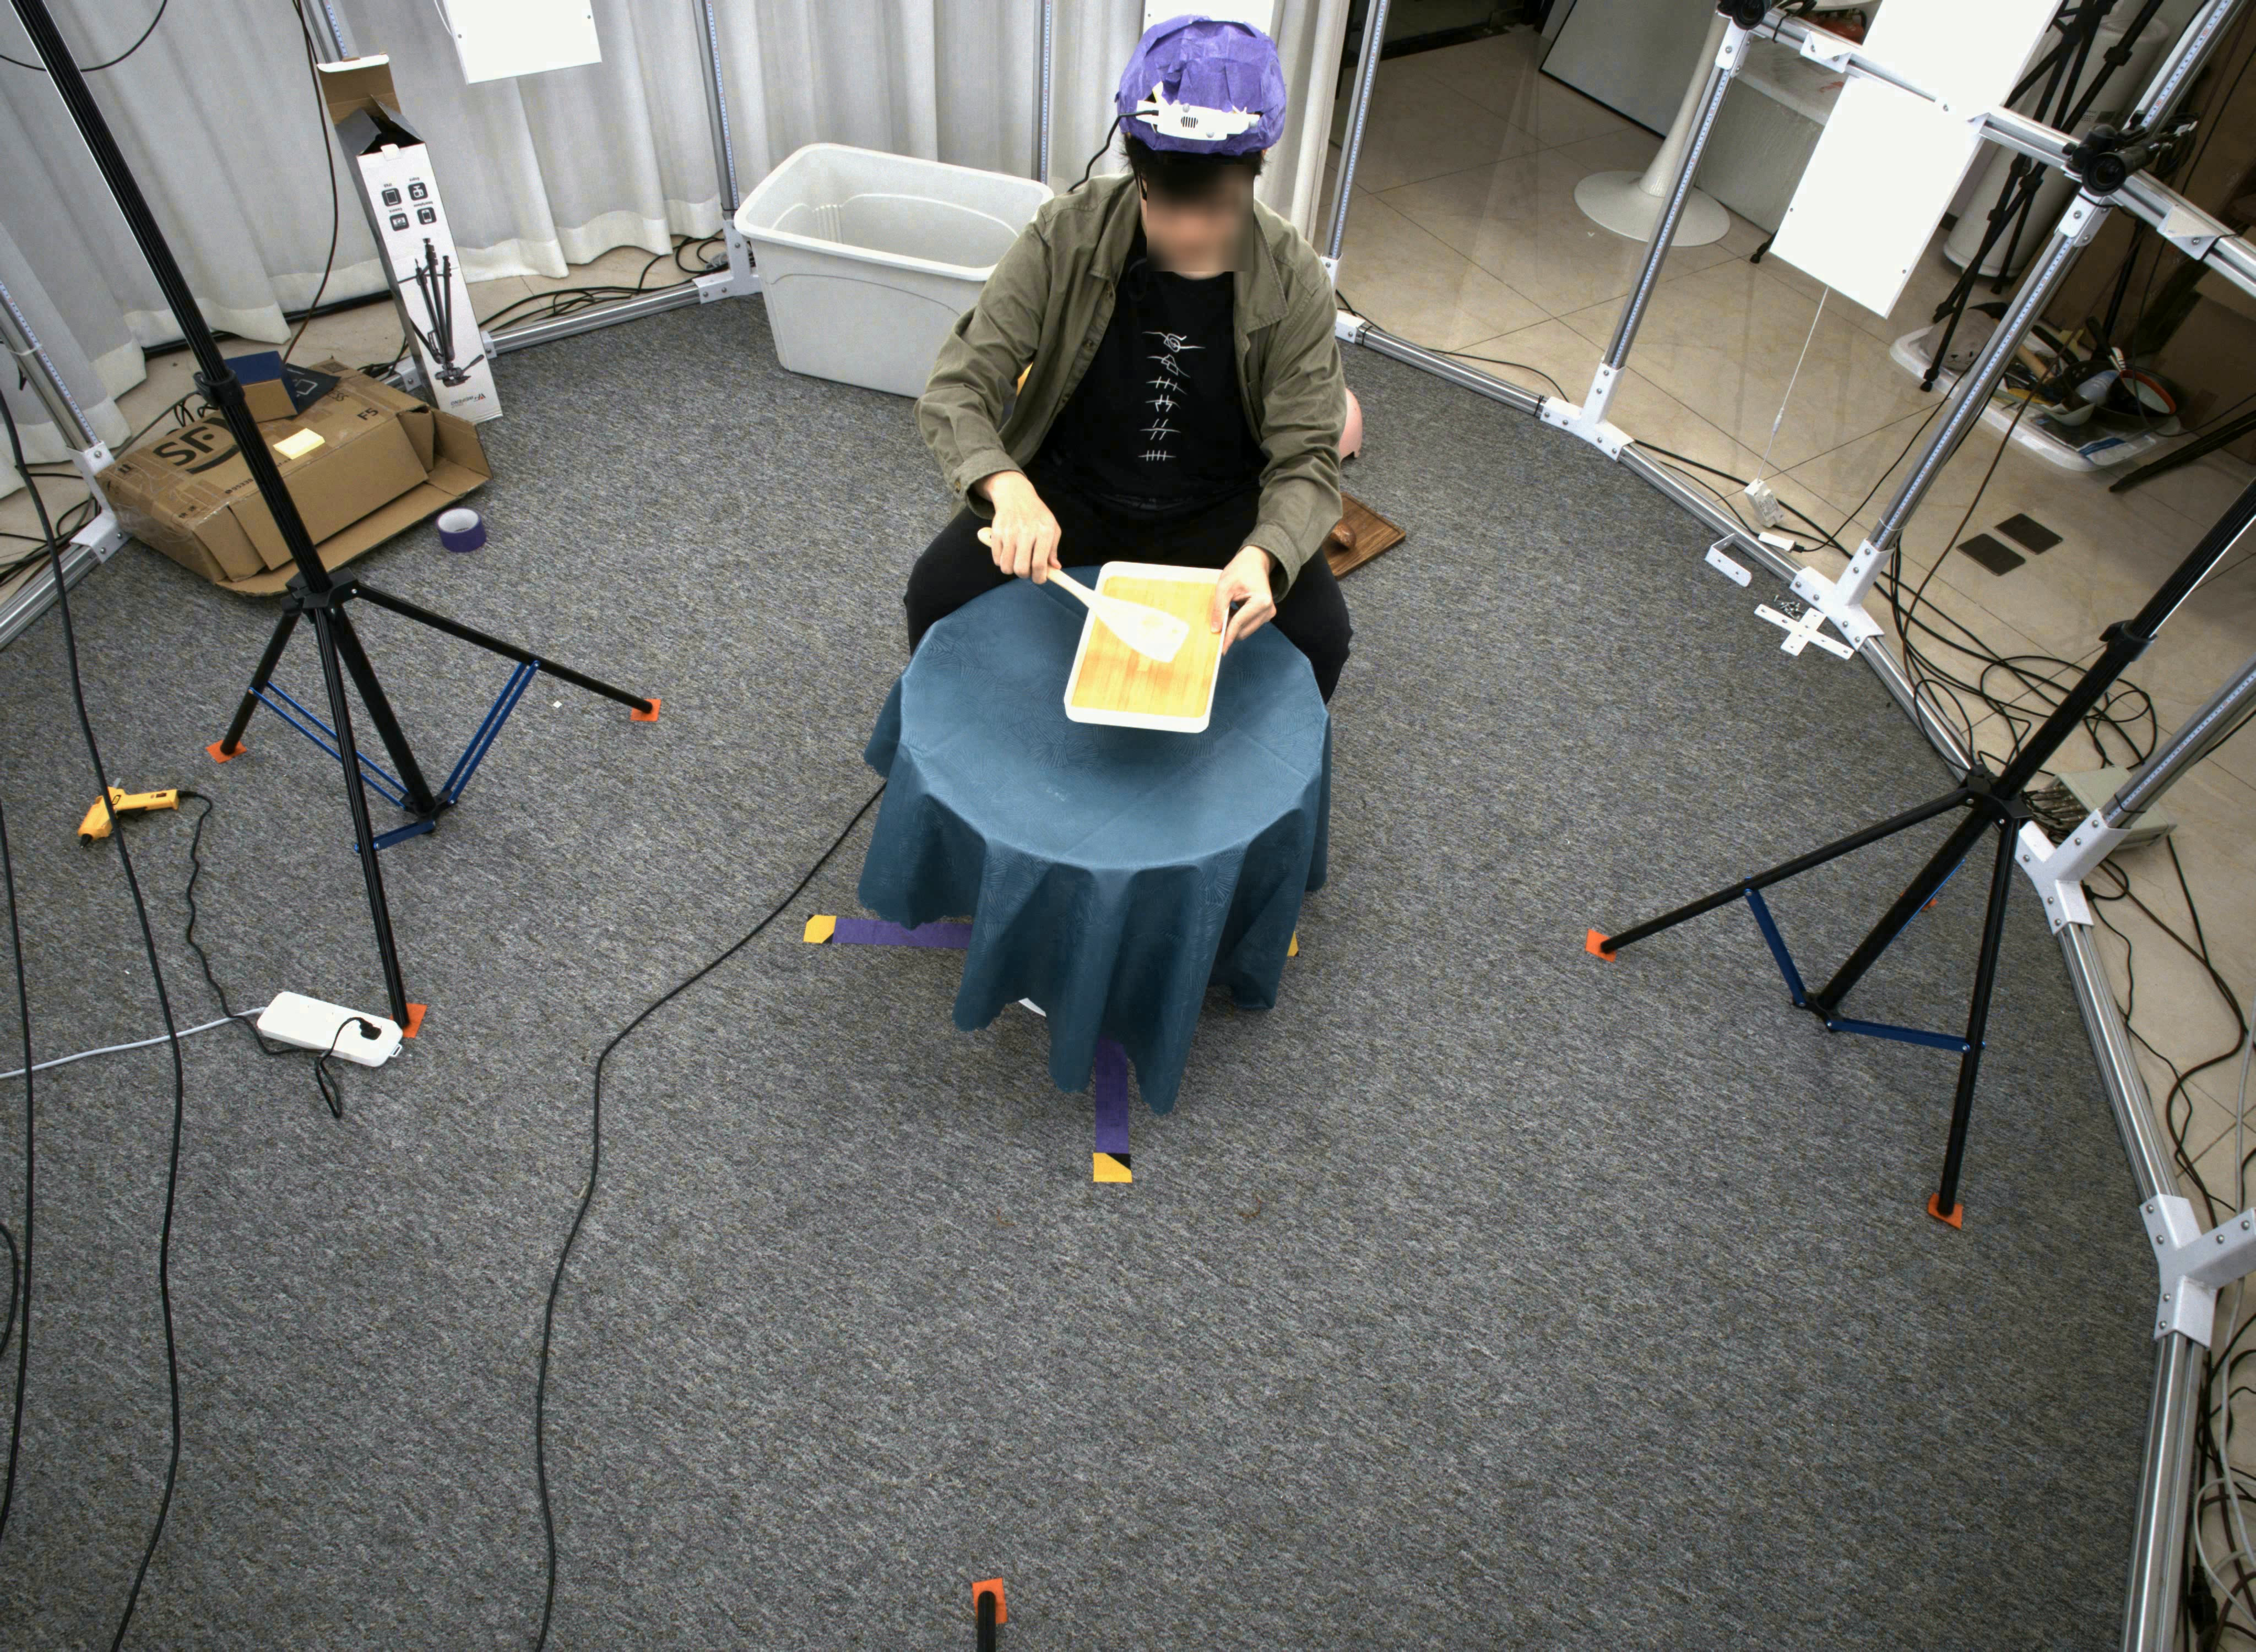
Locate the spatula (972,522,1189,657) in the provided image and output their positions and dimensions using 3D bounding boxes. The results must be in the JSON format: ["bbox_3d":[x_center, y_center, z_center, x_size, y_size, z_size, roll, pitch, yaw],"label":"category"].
[{"bbox_3d":[-0.066,-0.316,1.667,0.330,0.016,0.081,32,58,14],"label":"spatula"}]

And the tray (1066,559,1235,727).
[{"bbox_3d":[0.035,-0.254,1.741,0.192,0.027,0.307,7,48,7],"label":"tray"}]
